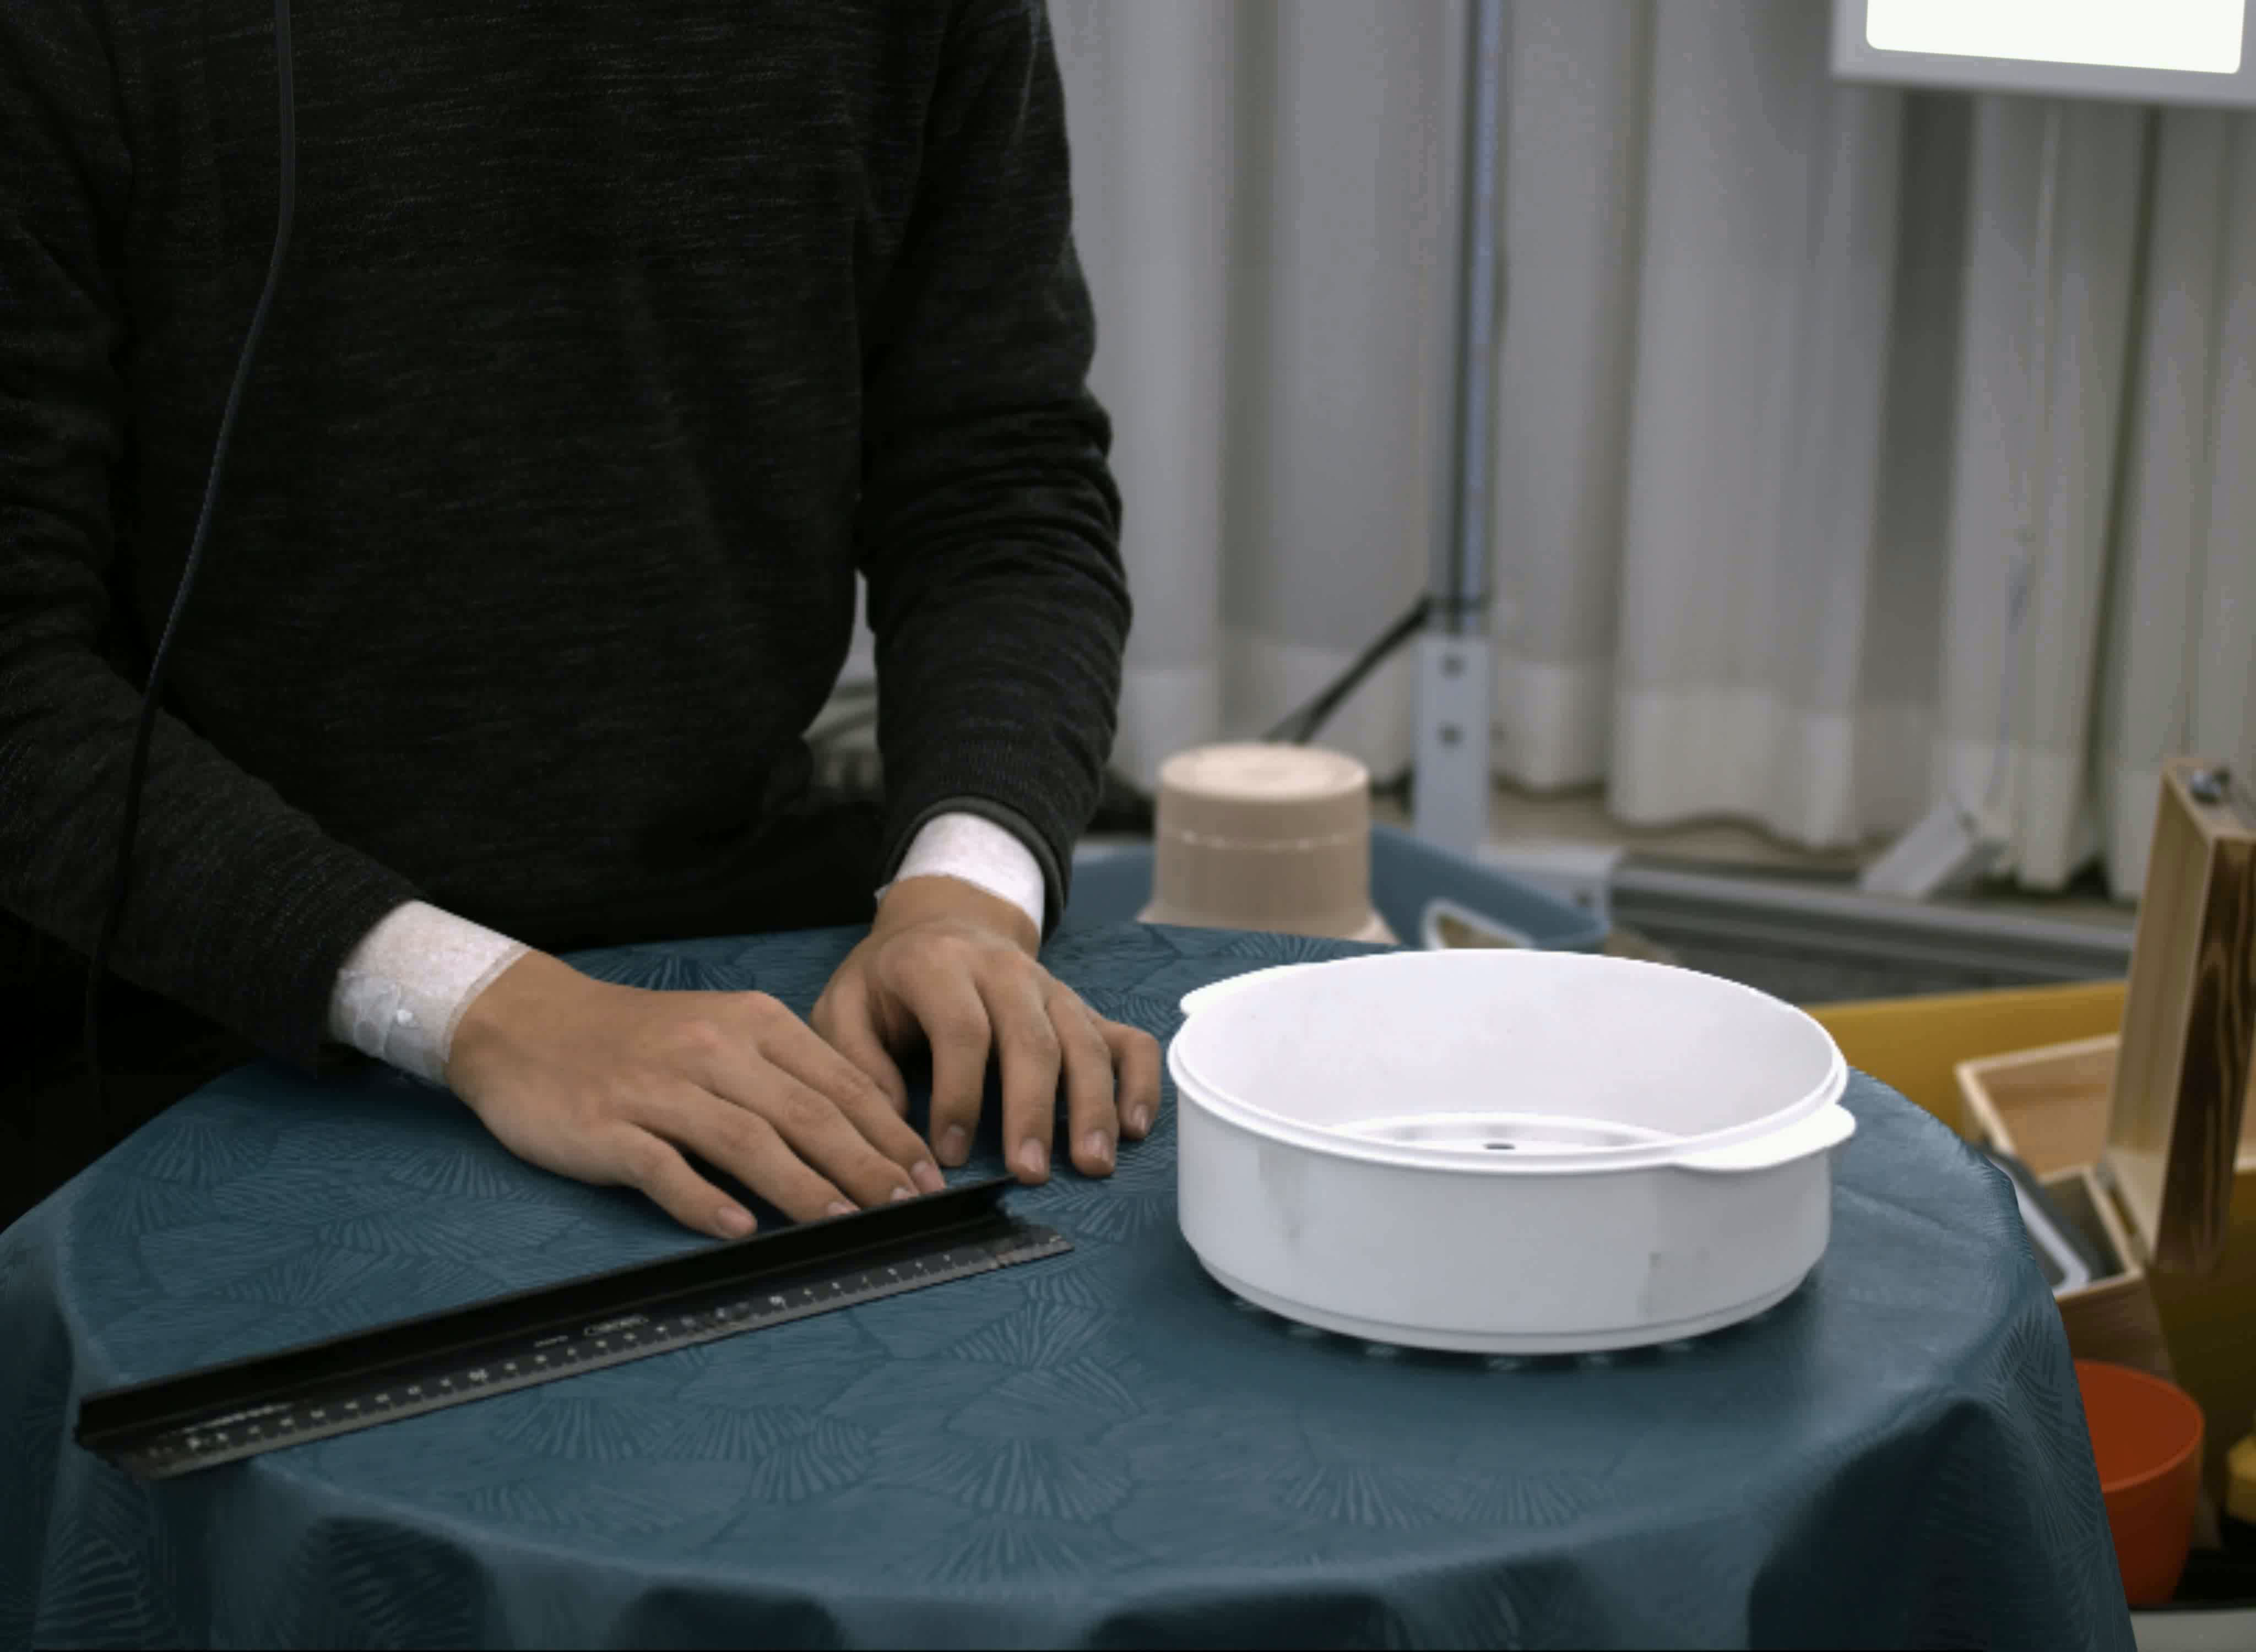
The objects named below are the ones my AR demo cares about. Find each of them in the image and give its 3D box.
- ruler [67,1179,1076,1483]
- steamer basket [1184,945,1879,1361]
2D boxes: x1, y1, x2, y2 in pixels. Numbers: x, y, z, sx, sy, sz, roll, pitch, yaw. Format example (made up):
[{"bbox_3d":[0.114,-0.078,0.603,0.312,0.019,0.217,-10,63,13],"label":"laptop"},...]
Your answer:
[{"bbox_3d":[-0.150,0.140,1.488,0.314,0.017,0.039,-11,23,-36],"label":"ruler"},{"bbox_3d":[0.115,0.096,1.554,0.227,0.070,0.203,18,23,41],"label":"steamer basket"}]
